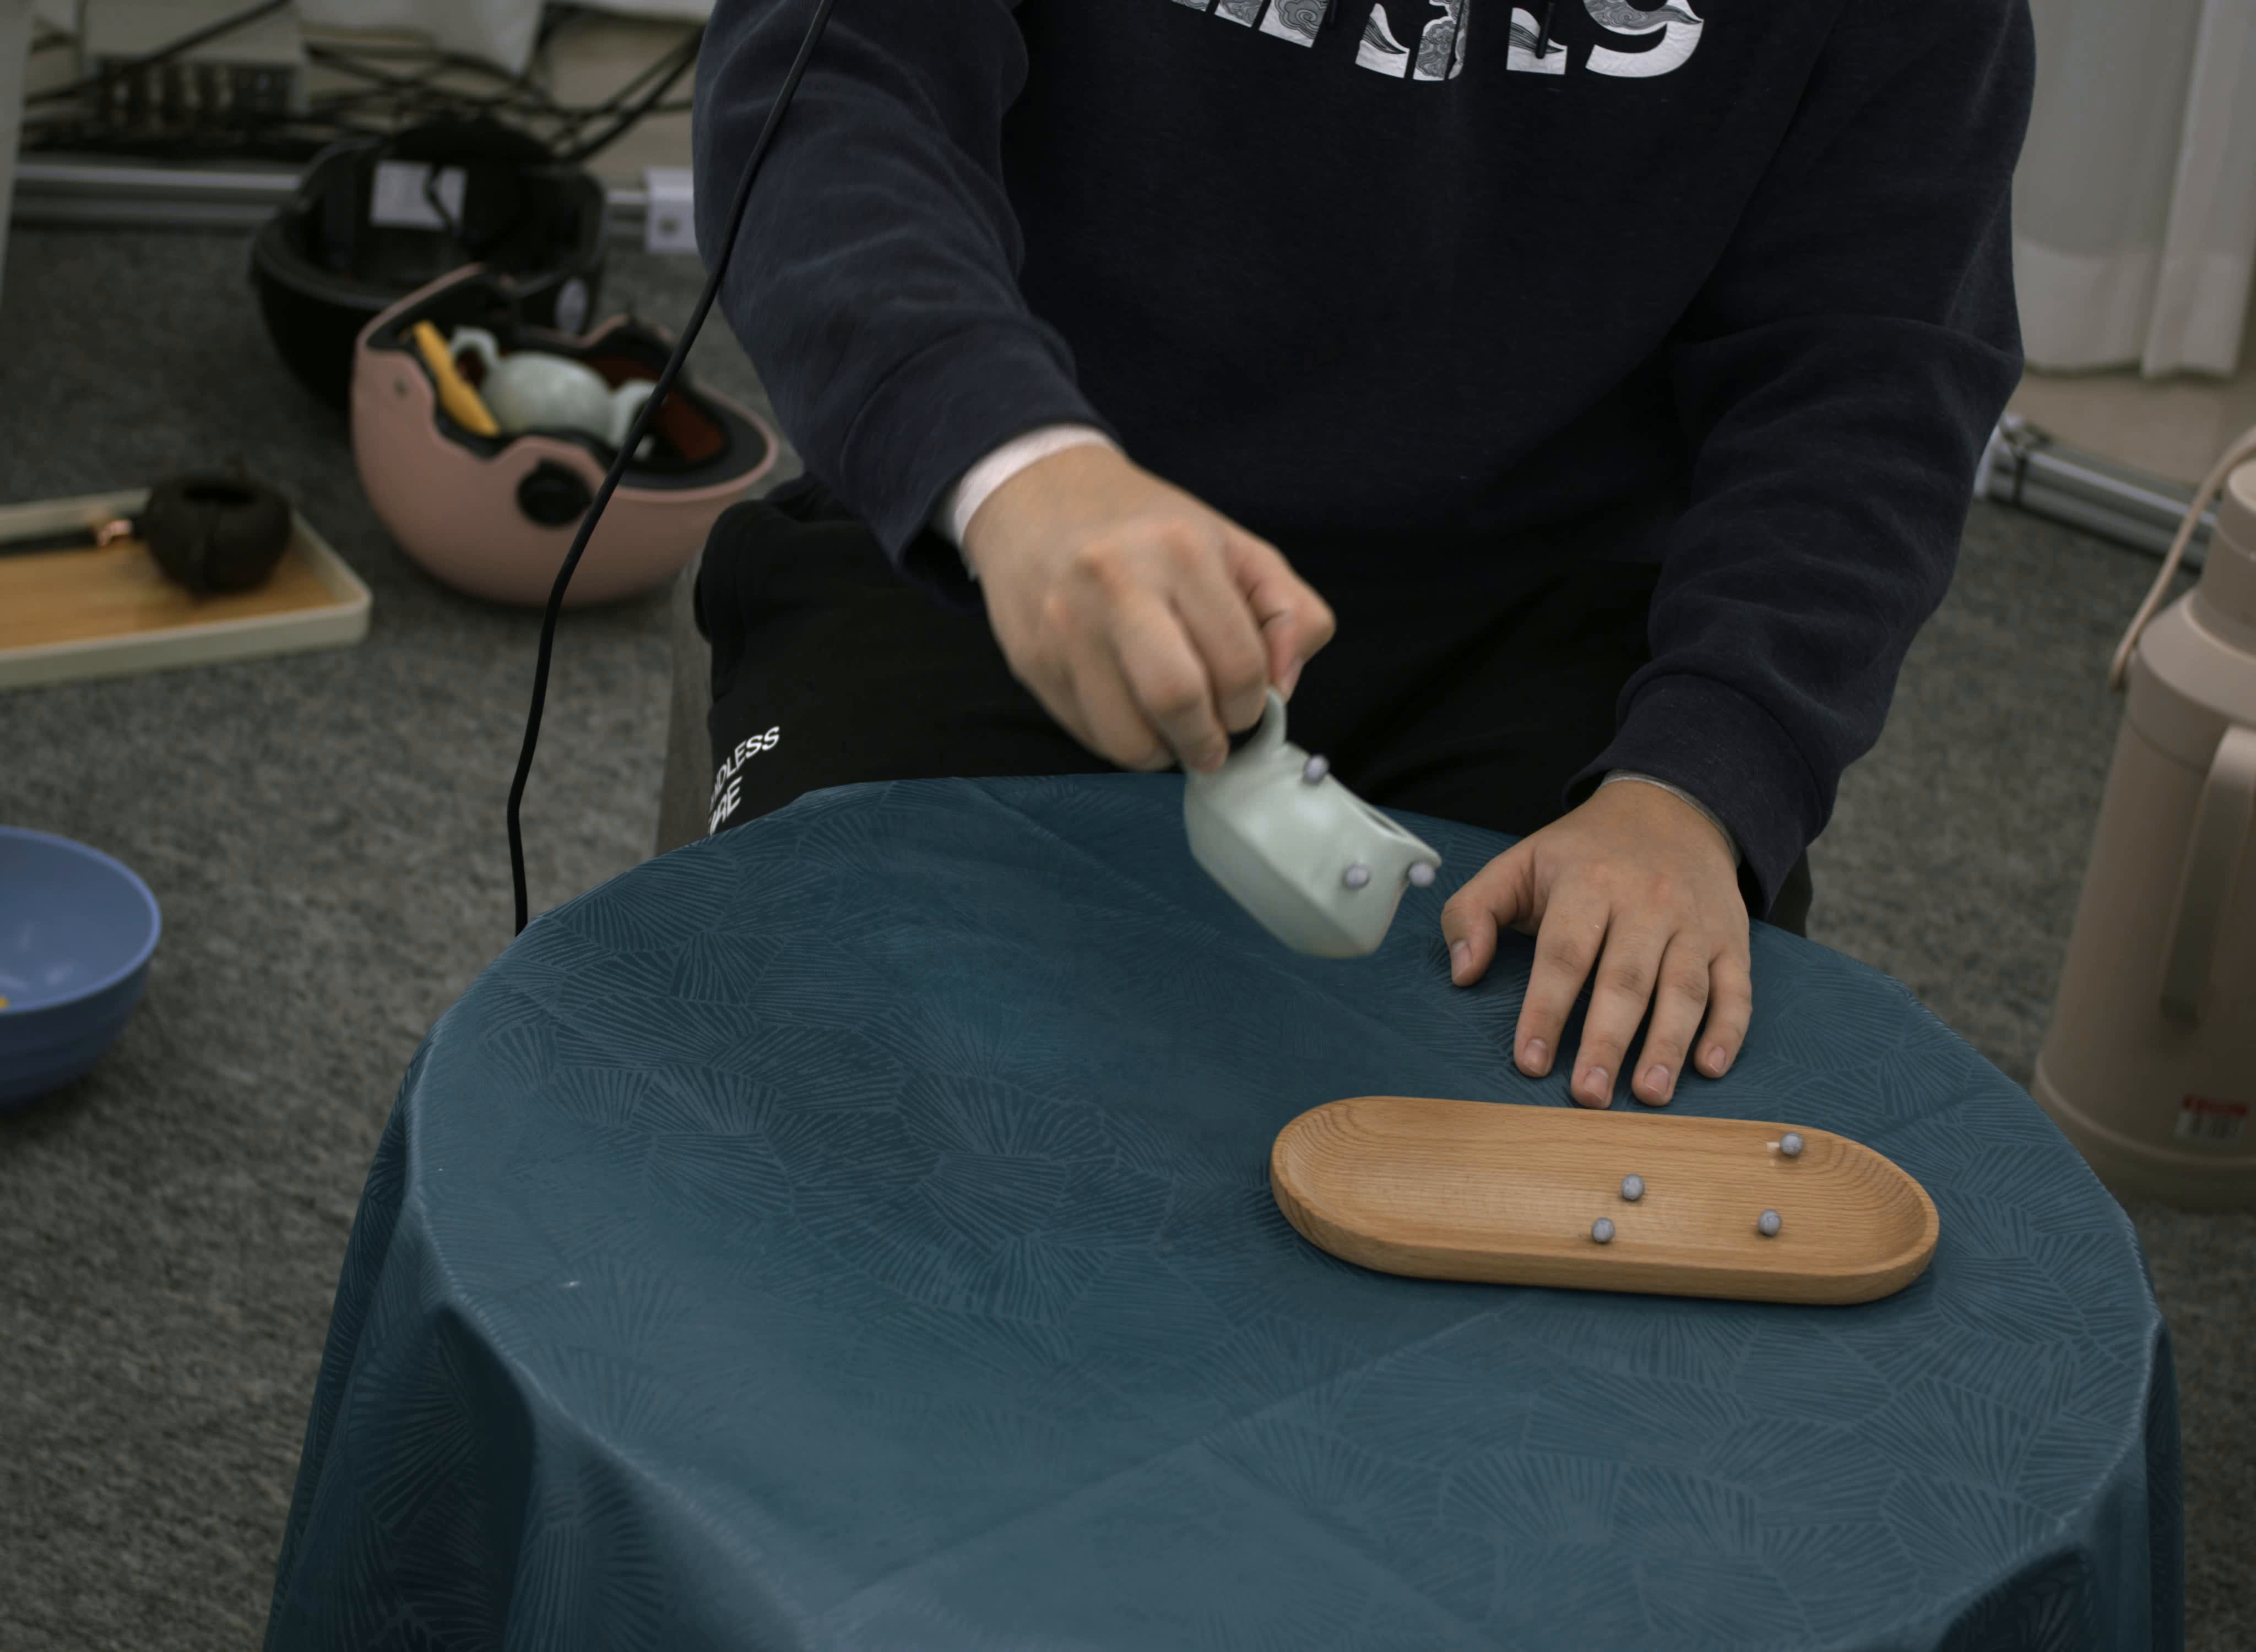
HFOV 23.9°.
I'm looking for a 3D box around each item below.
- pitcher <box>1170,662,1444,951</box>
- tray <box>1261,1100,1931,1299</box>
[{"bbox_3d":[0.050,-0.005,1.755,0.107,0.060,0.086,43,2,-23],"label":"pitcher"},{"bbox_3d":[0.160,0.128,1.818,0.230,0.020,0.102,2,25,-5],"label":"tray"}]
